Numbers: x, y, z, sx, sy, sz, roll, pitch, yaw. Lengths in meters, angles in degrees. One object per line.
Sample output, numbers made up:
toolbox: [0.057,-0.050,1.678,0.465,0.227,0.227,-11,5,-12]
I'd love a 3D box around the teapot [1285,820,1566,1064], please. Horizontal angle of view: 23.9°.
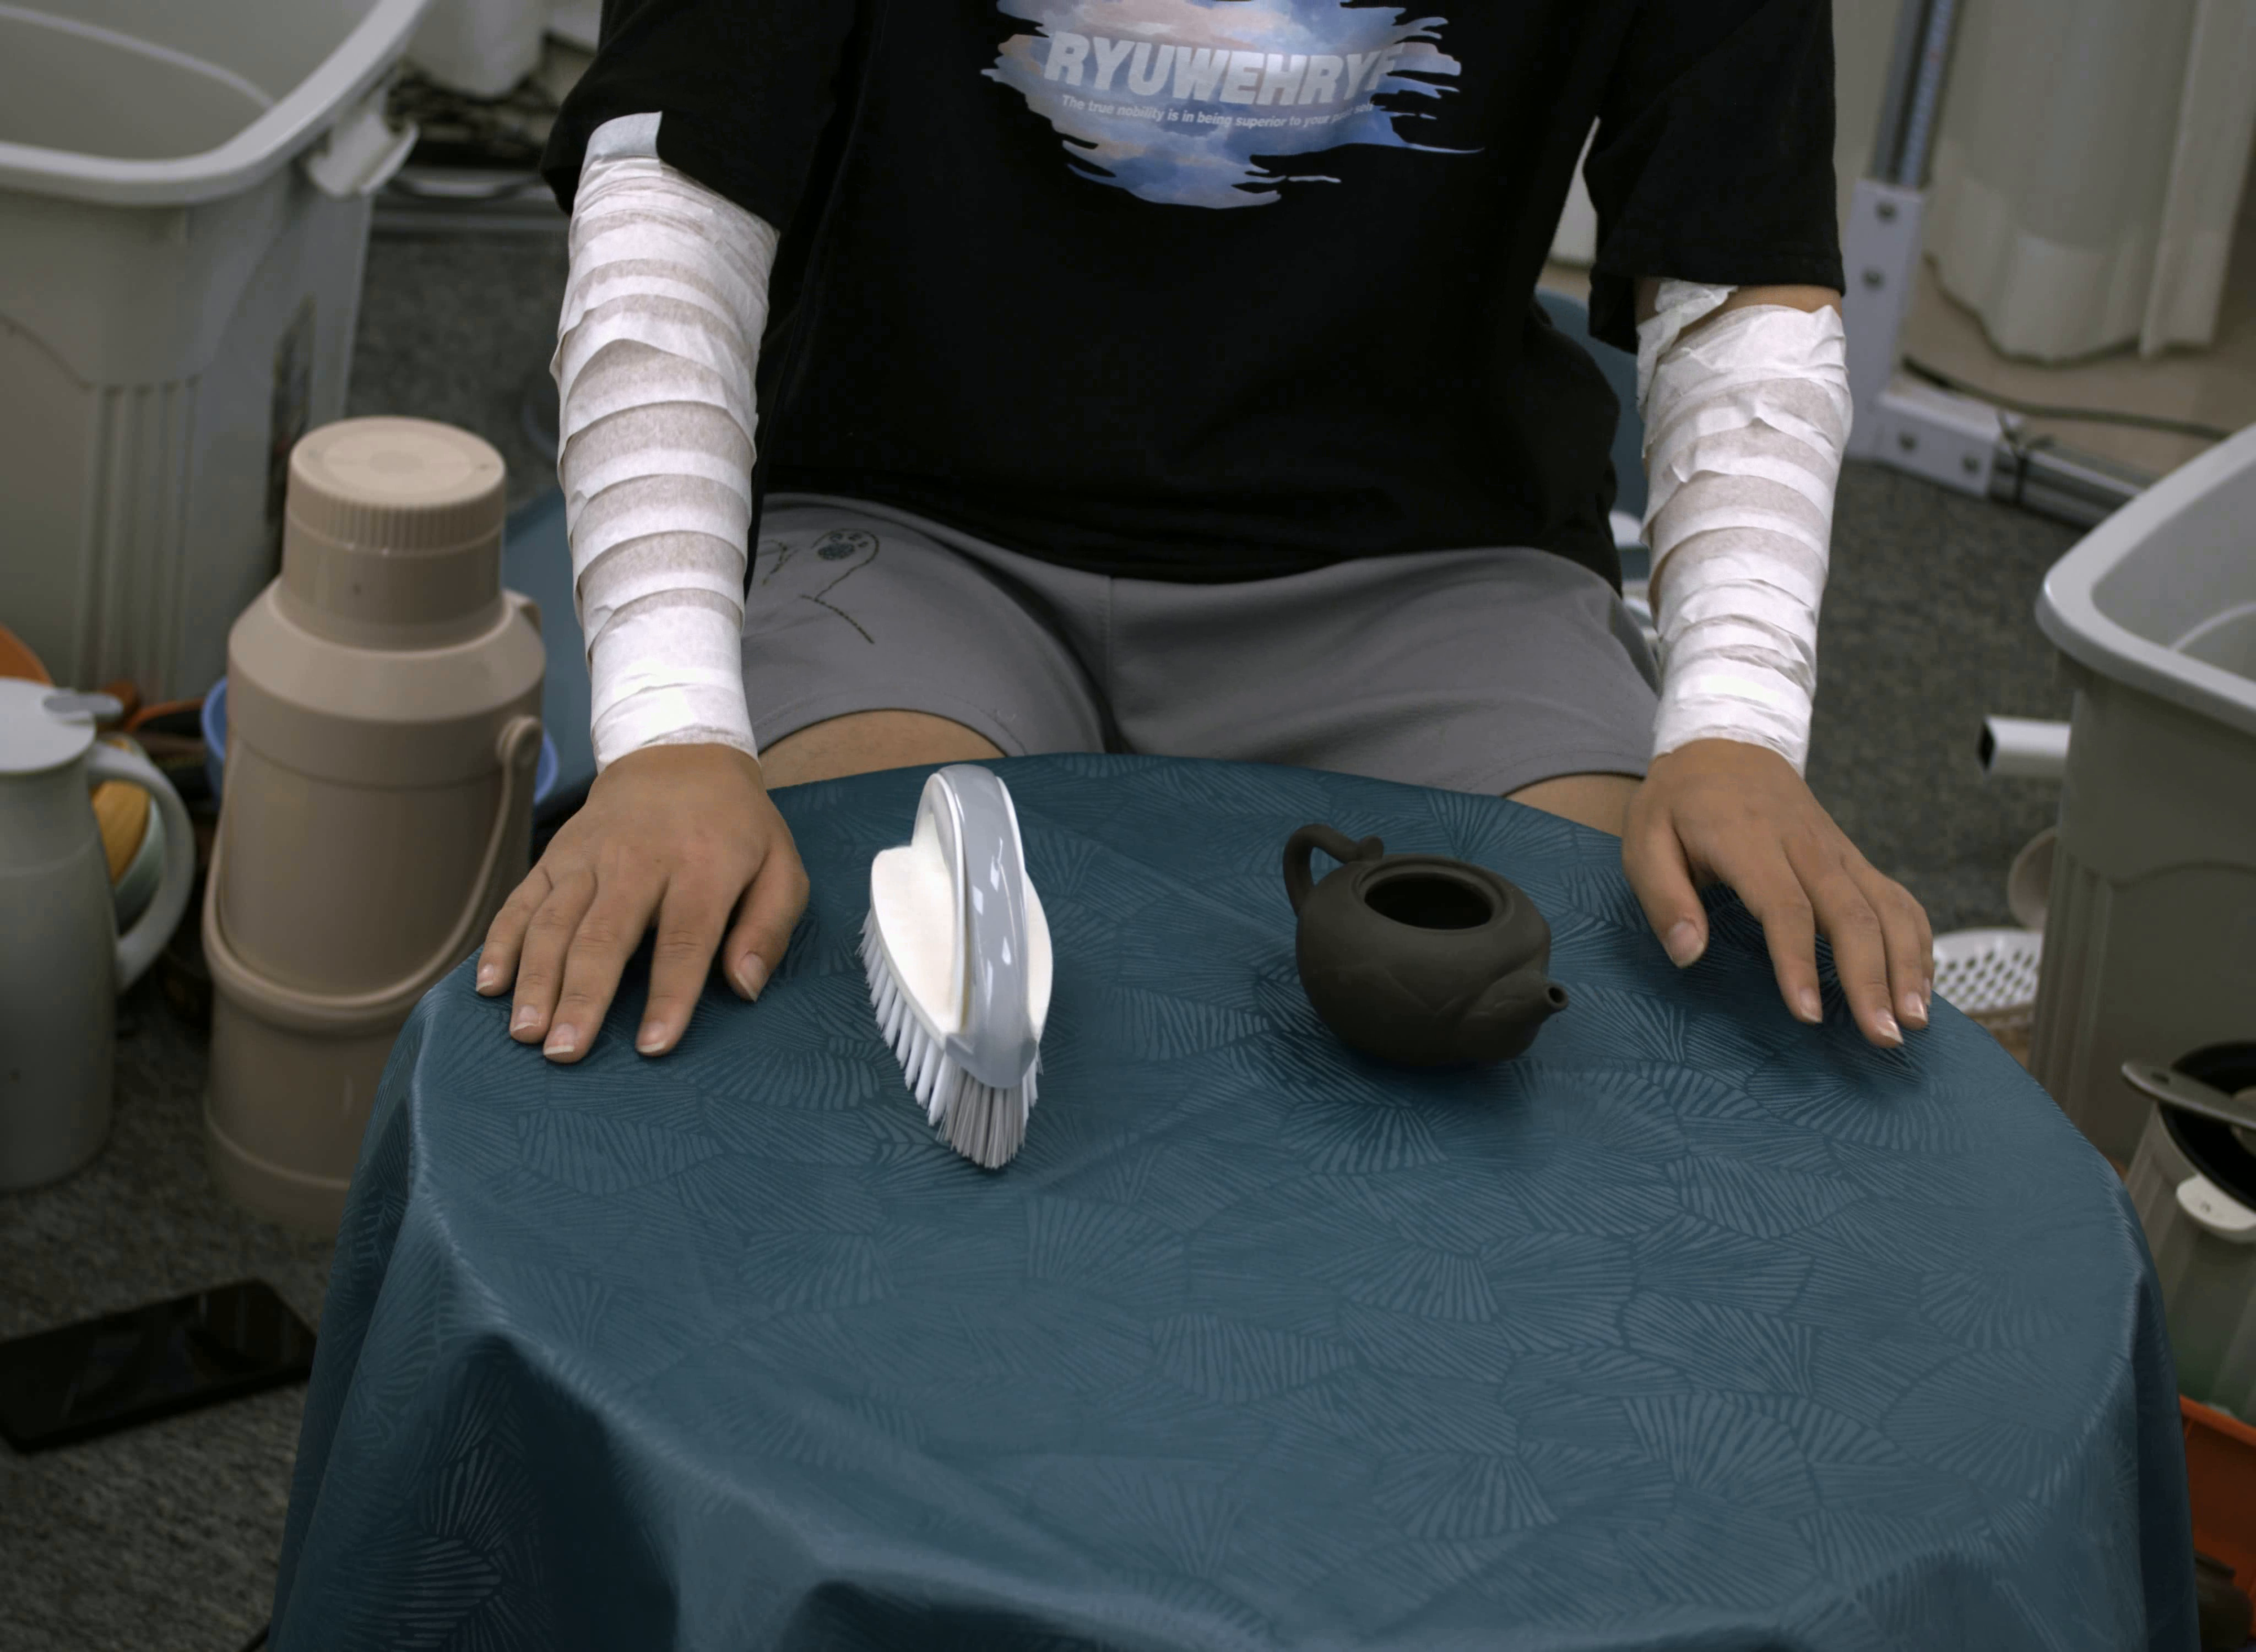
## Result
teapot: [0.104,0.045,1.911,0.092,0.064,0.155,-12,33,-34]

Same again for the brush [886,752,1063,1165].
brush: [-0.050,0.038,1.861,0.061,0.094,0.177,-2,29,-7]
